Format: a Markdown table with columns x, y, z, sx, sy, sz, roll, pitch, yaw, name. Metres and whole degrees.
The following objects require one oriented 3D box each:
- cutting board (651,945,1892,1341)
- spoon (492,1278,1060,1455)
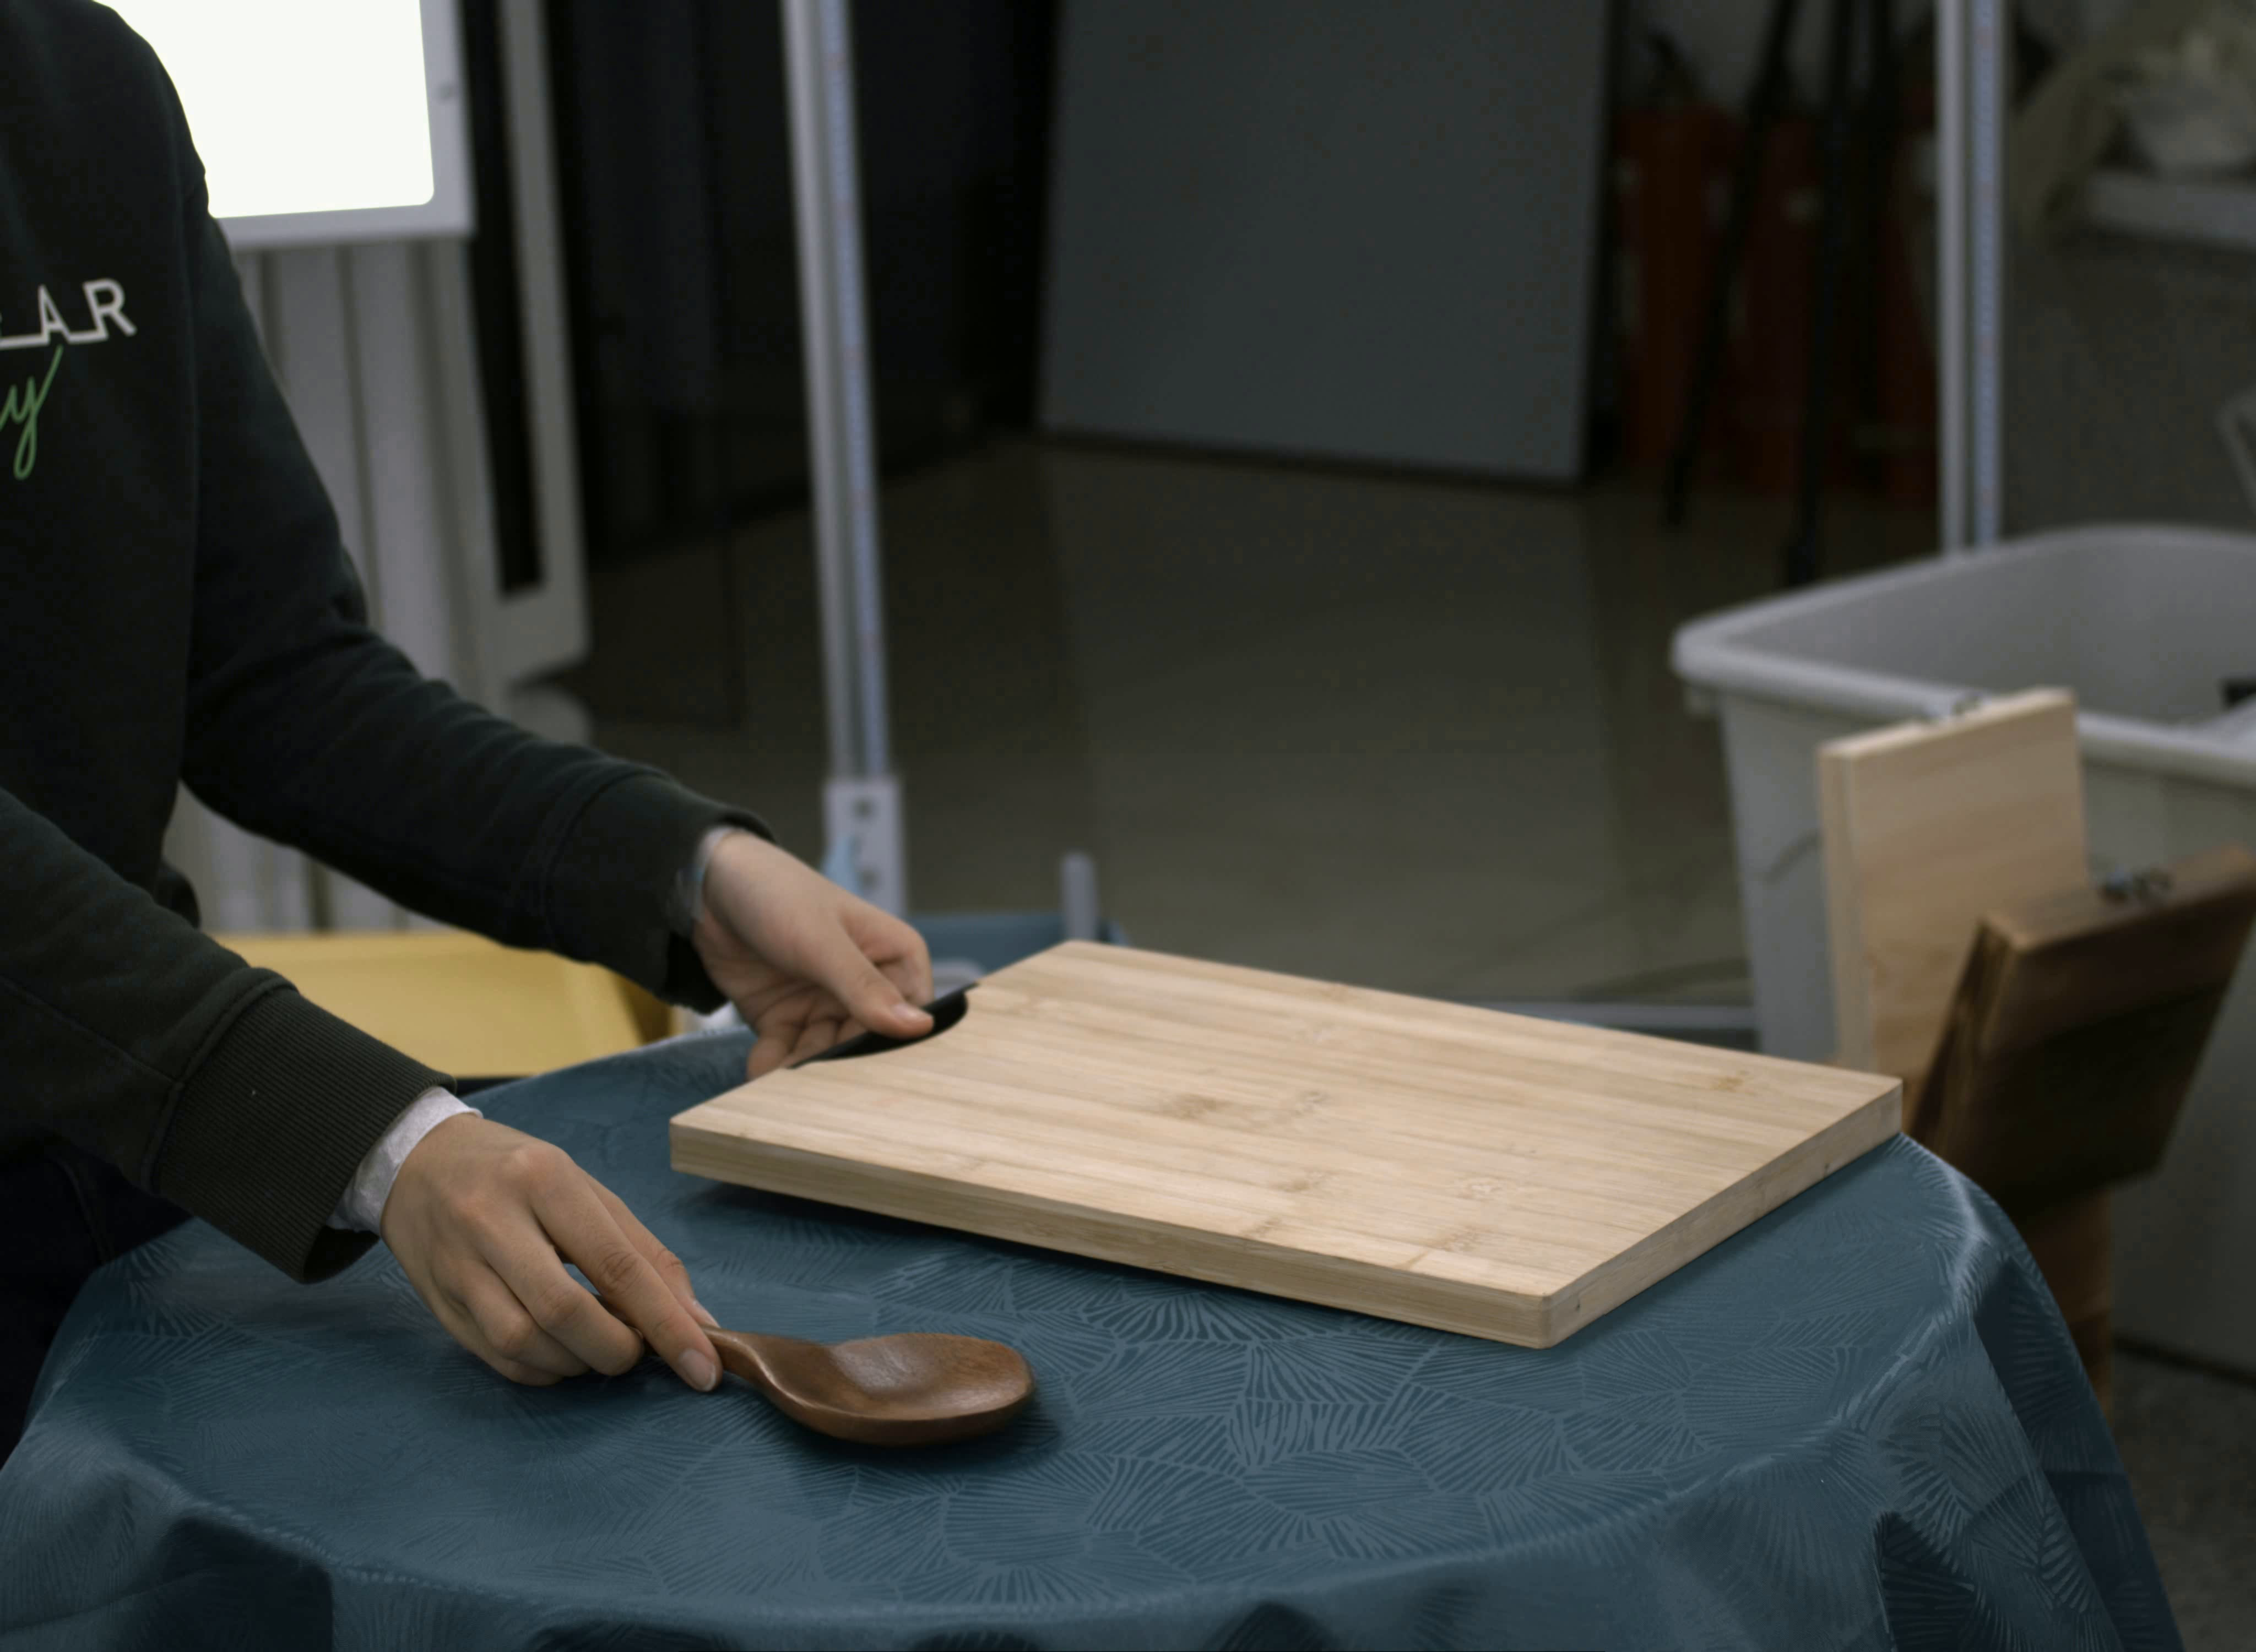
| x | y | z | sx | sy | sz | roll | pitch | yaw | name |
| --- | --- | --- | --- | --- | --- | --- | --- | --- | --- |
| 0.047 | 0.100 | 1.788 | 0.350 | 0.024 | 0.246 | 8 | 17 | 34 | cutting board |
| -0.110 | 0.160 | 1.610 | 0.217 | 0.017 | 0.074 | 8 | 20 | 40 | spoon |
